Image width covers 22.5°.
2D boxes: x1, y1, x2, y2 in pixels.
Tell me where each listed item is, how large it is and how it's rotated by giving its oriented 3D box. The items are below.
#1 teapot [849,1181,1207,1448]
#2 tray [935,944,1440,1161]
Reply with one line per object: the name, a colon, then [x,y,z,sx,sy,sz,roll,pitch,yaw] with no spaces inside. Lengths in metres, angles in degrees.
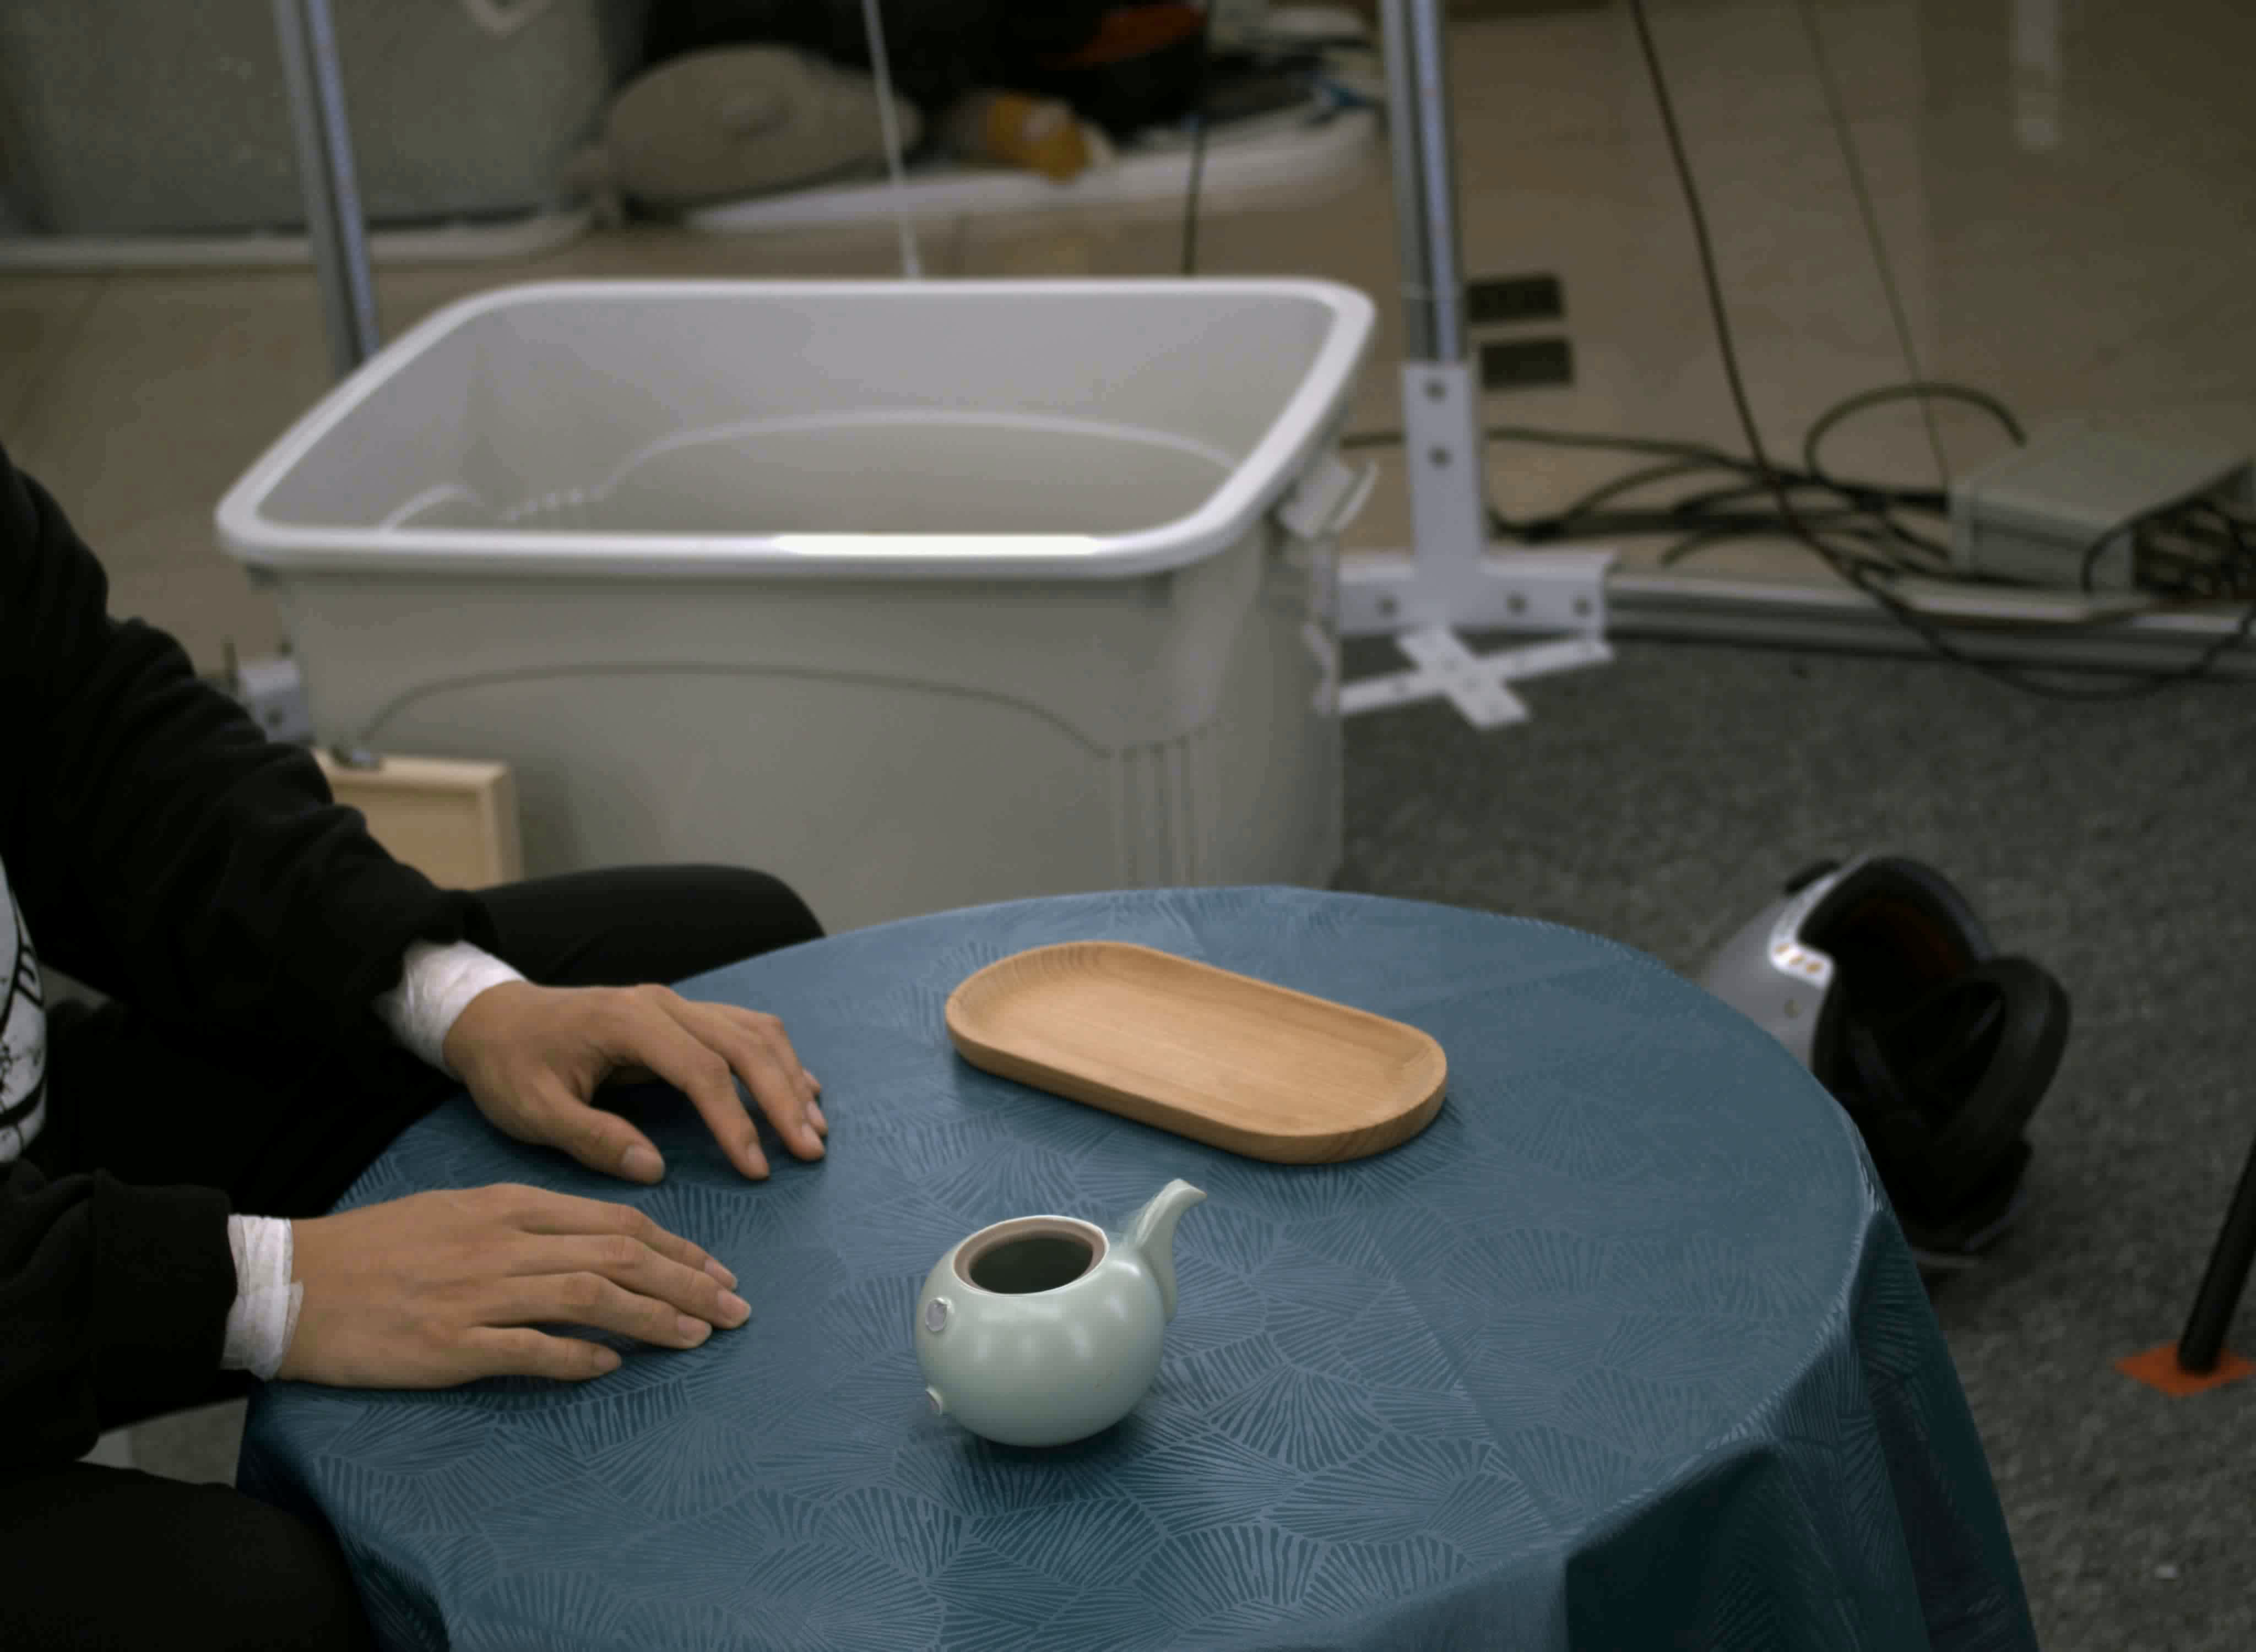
teapot: [-0.032,0.176,1.991,0.143,0.076,0.087,-17,26,-23]
tray: [0.022,0.089,2.234,0.230,0.020,0.101,14,30,40]
